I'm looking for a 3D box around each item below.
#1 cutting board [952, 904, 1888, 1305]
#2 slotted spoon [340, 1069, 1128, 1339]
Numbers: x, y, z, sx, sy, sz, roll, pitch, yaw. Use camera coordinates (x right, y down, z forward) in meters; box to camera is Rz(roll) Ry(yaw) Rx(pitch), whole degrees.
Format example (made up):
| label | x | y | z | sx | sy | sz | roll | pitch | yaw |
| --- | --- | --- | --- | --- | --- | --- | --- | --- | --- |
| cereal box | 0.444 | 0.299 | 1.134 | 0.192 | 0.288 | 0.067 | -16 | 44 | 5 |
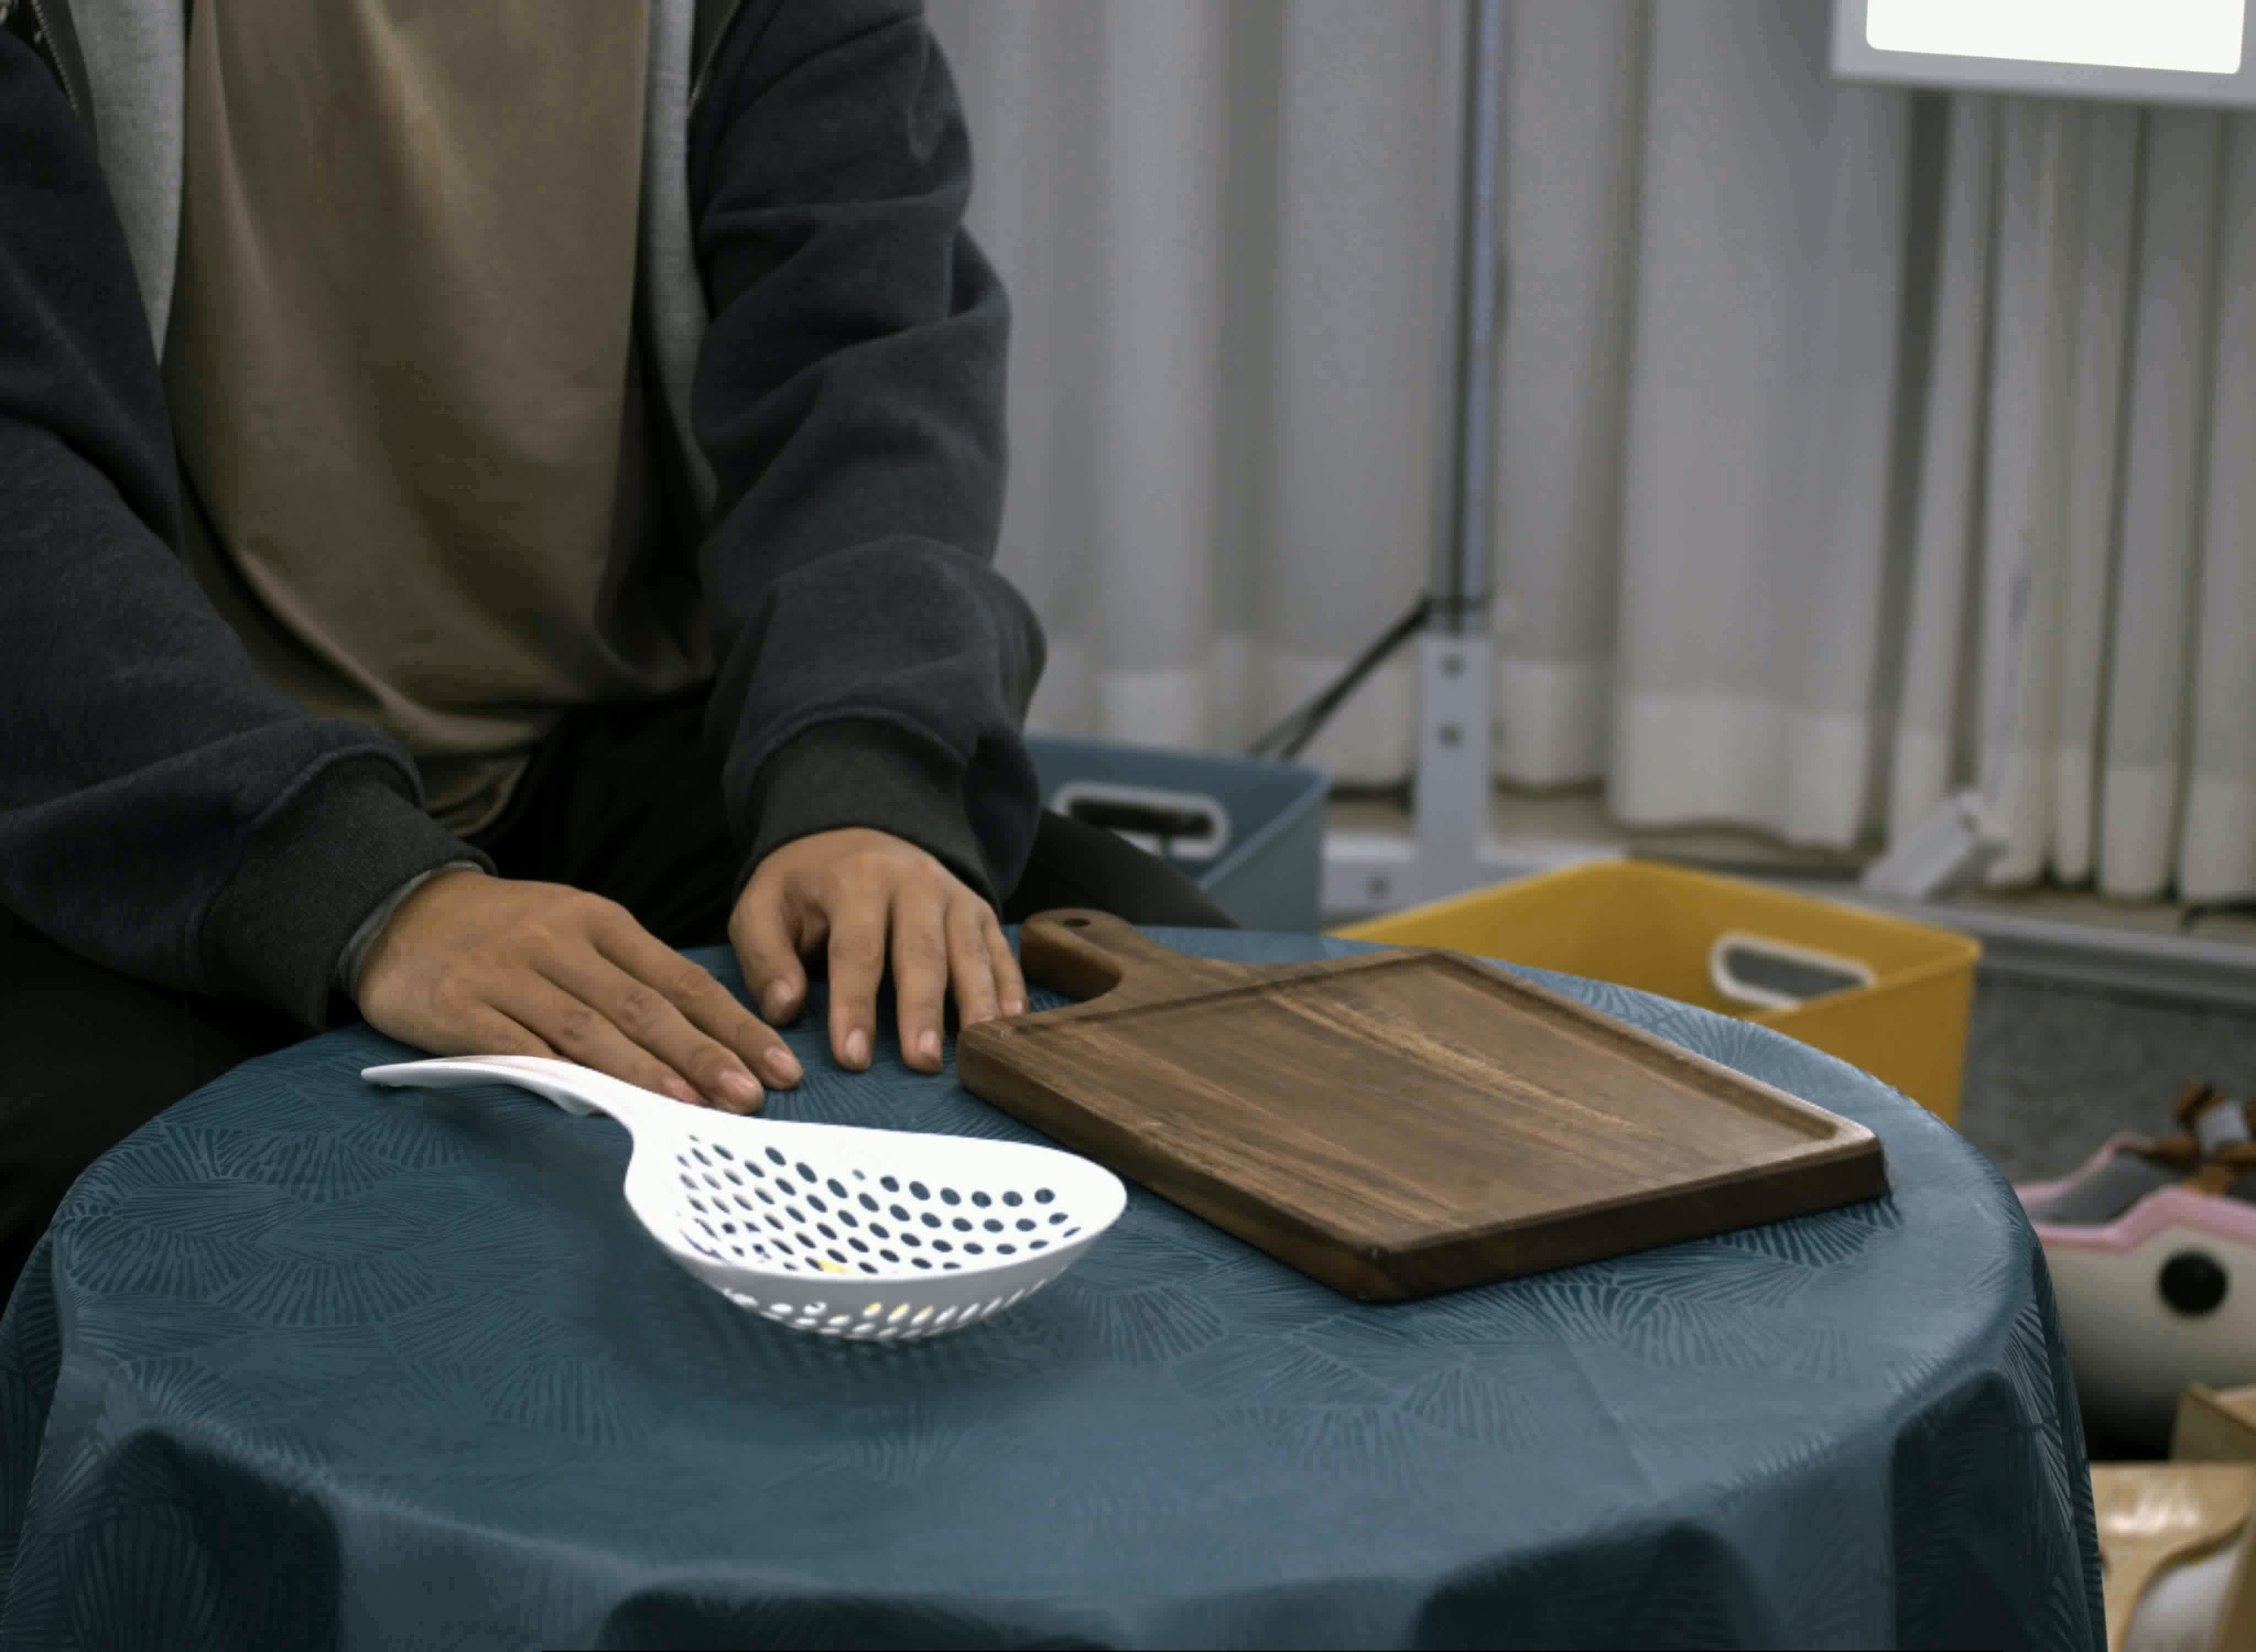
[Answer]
| label | x | y | z | sx | sy | sz | roll | pitch | yaw |
| --- | --- | --- | --- | --- | --- | --- | --- | --- | --- |
| cutting board | 0.063 | 0.078 | 1.710 | 0.202 | 0.023 | 0.347 | -8 | 18 | -31 |
| slotted spoon | -0.138 | 0.100 | 1.584 | 0.137 | 0.051 | 0.343 | -14 | 22 | -37 |
